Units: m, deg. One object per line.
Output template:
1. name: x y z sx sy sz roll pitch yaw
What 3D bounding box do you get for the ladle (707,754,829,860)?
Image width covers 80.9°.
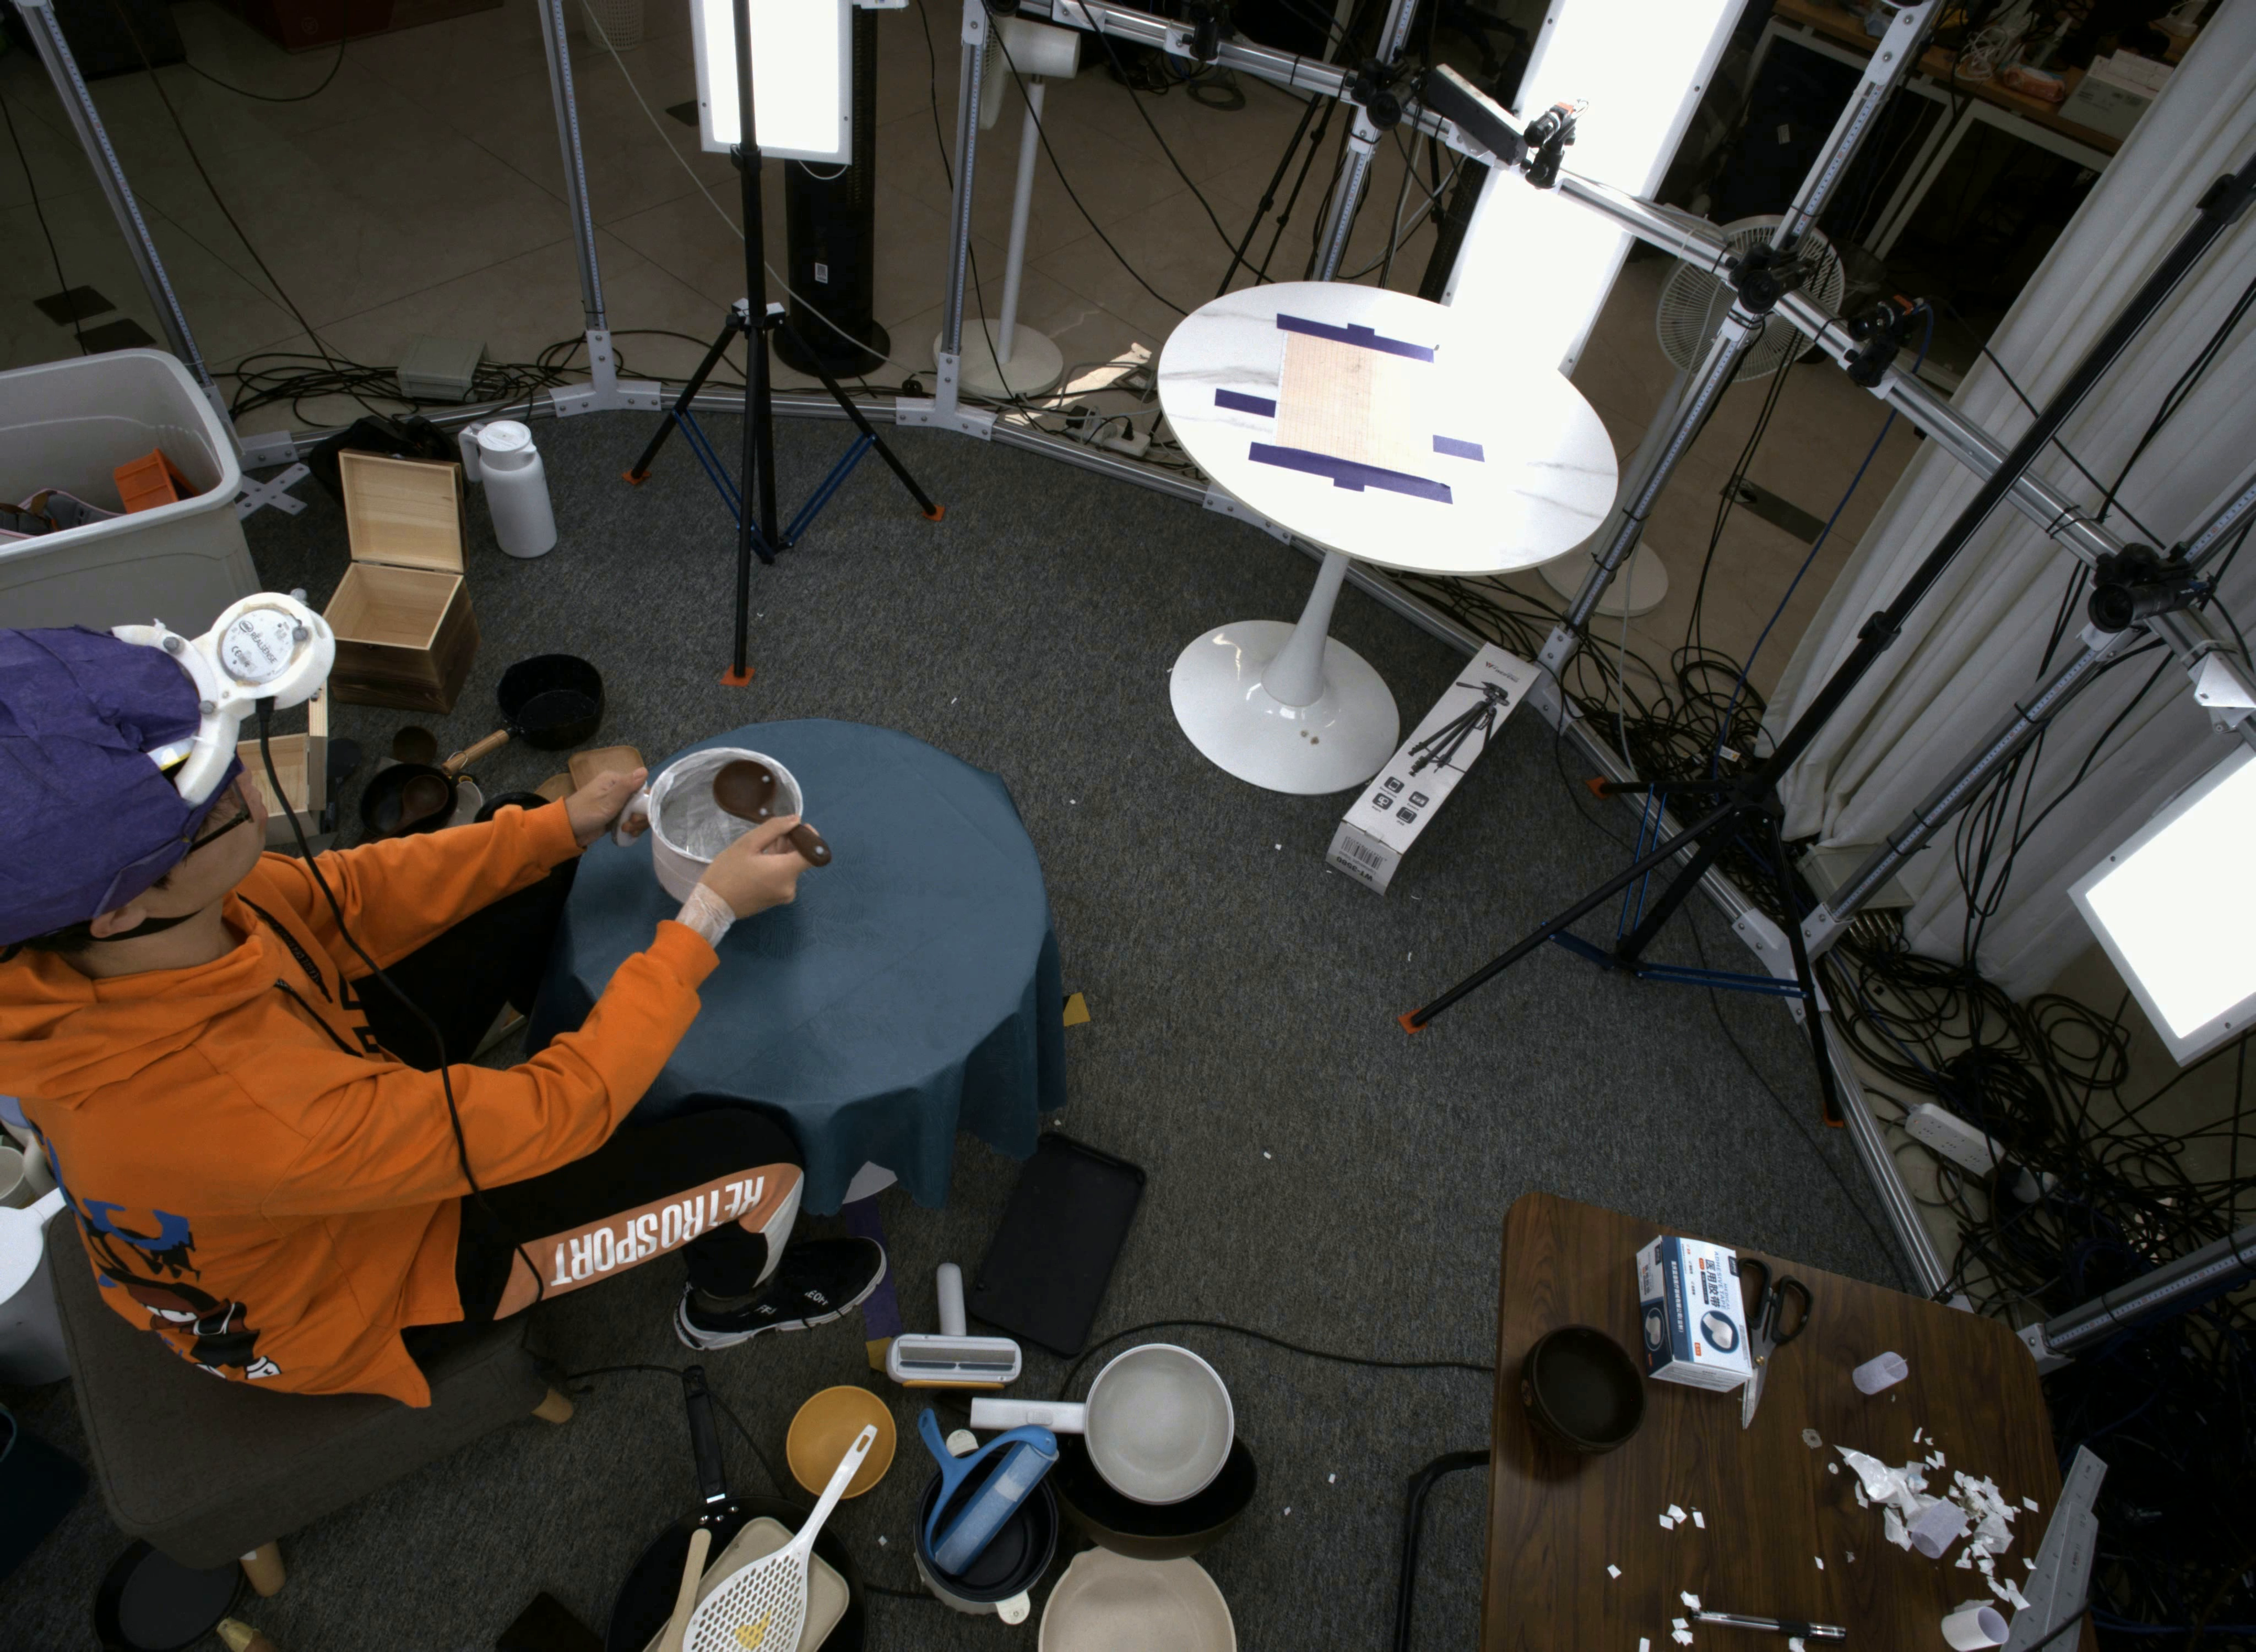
1. ladle: -0.396 -0.024 1.425 0.076 0.067 0.250 -34 31 -23

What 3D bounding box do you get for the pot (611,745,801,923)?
1. pot: -0.504 0.007 1.528 0.233 0.139 0.175 12 49 -6
